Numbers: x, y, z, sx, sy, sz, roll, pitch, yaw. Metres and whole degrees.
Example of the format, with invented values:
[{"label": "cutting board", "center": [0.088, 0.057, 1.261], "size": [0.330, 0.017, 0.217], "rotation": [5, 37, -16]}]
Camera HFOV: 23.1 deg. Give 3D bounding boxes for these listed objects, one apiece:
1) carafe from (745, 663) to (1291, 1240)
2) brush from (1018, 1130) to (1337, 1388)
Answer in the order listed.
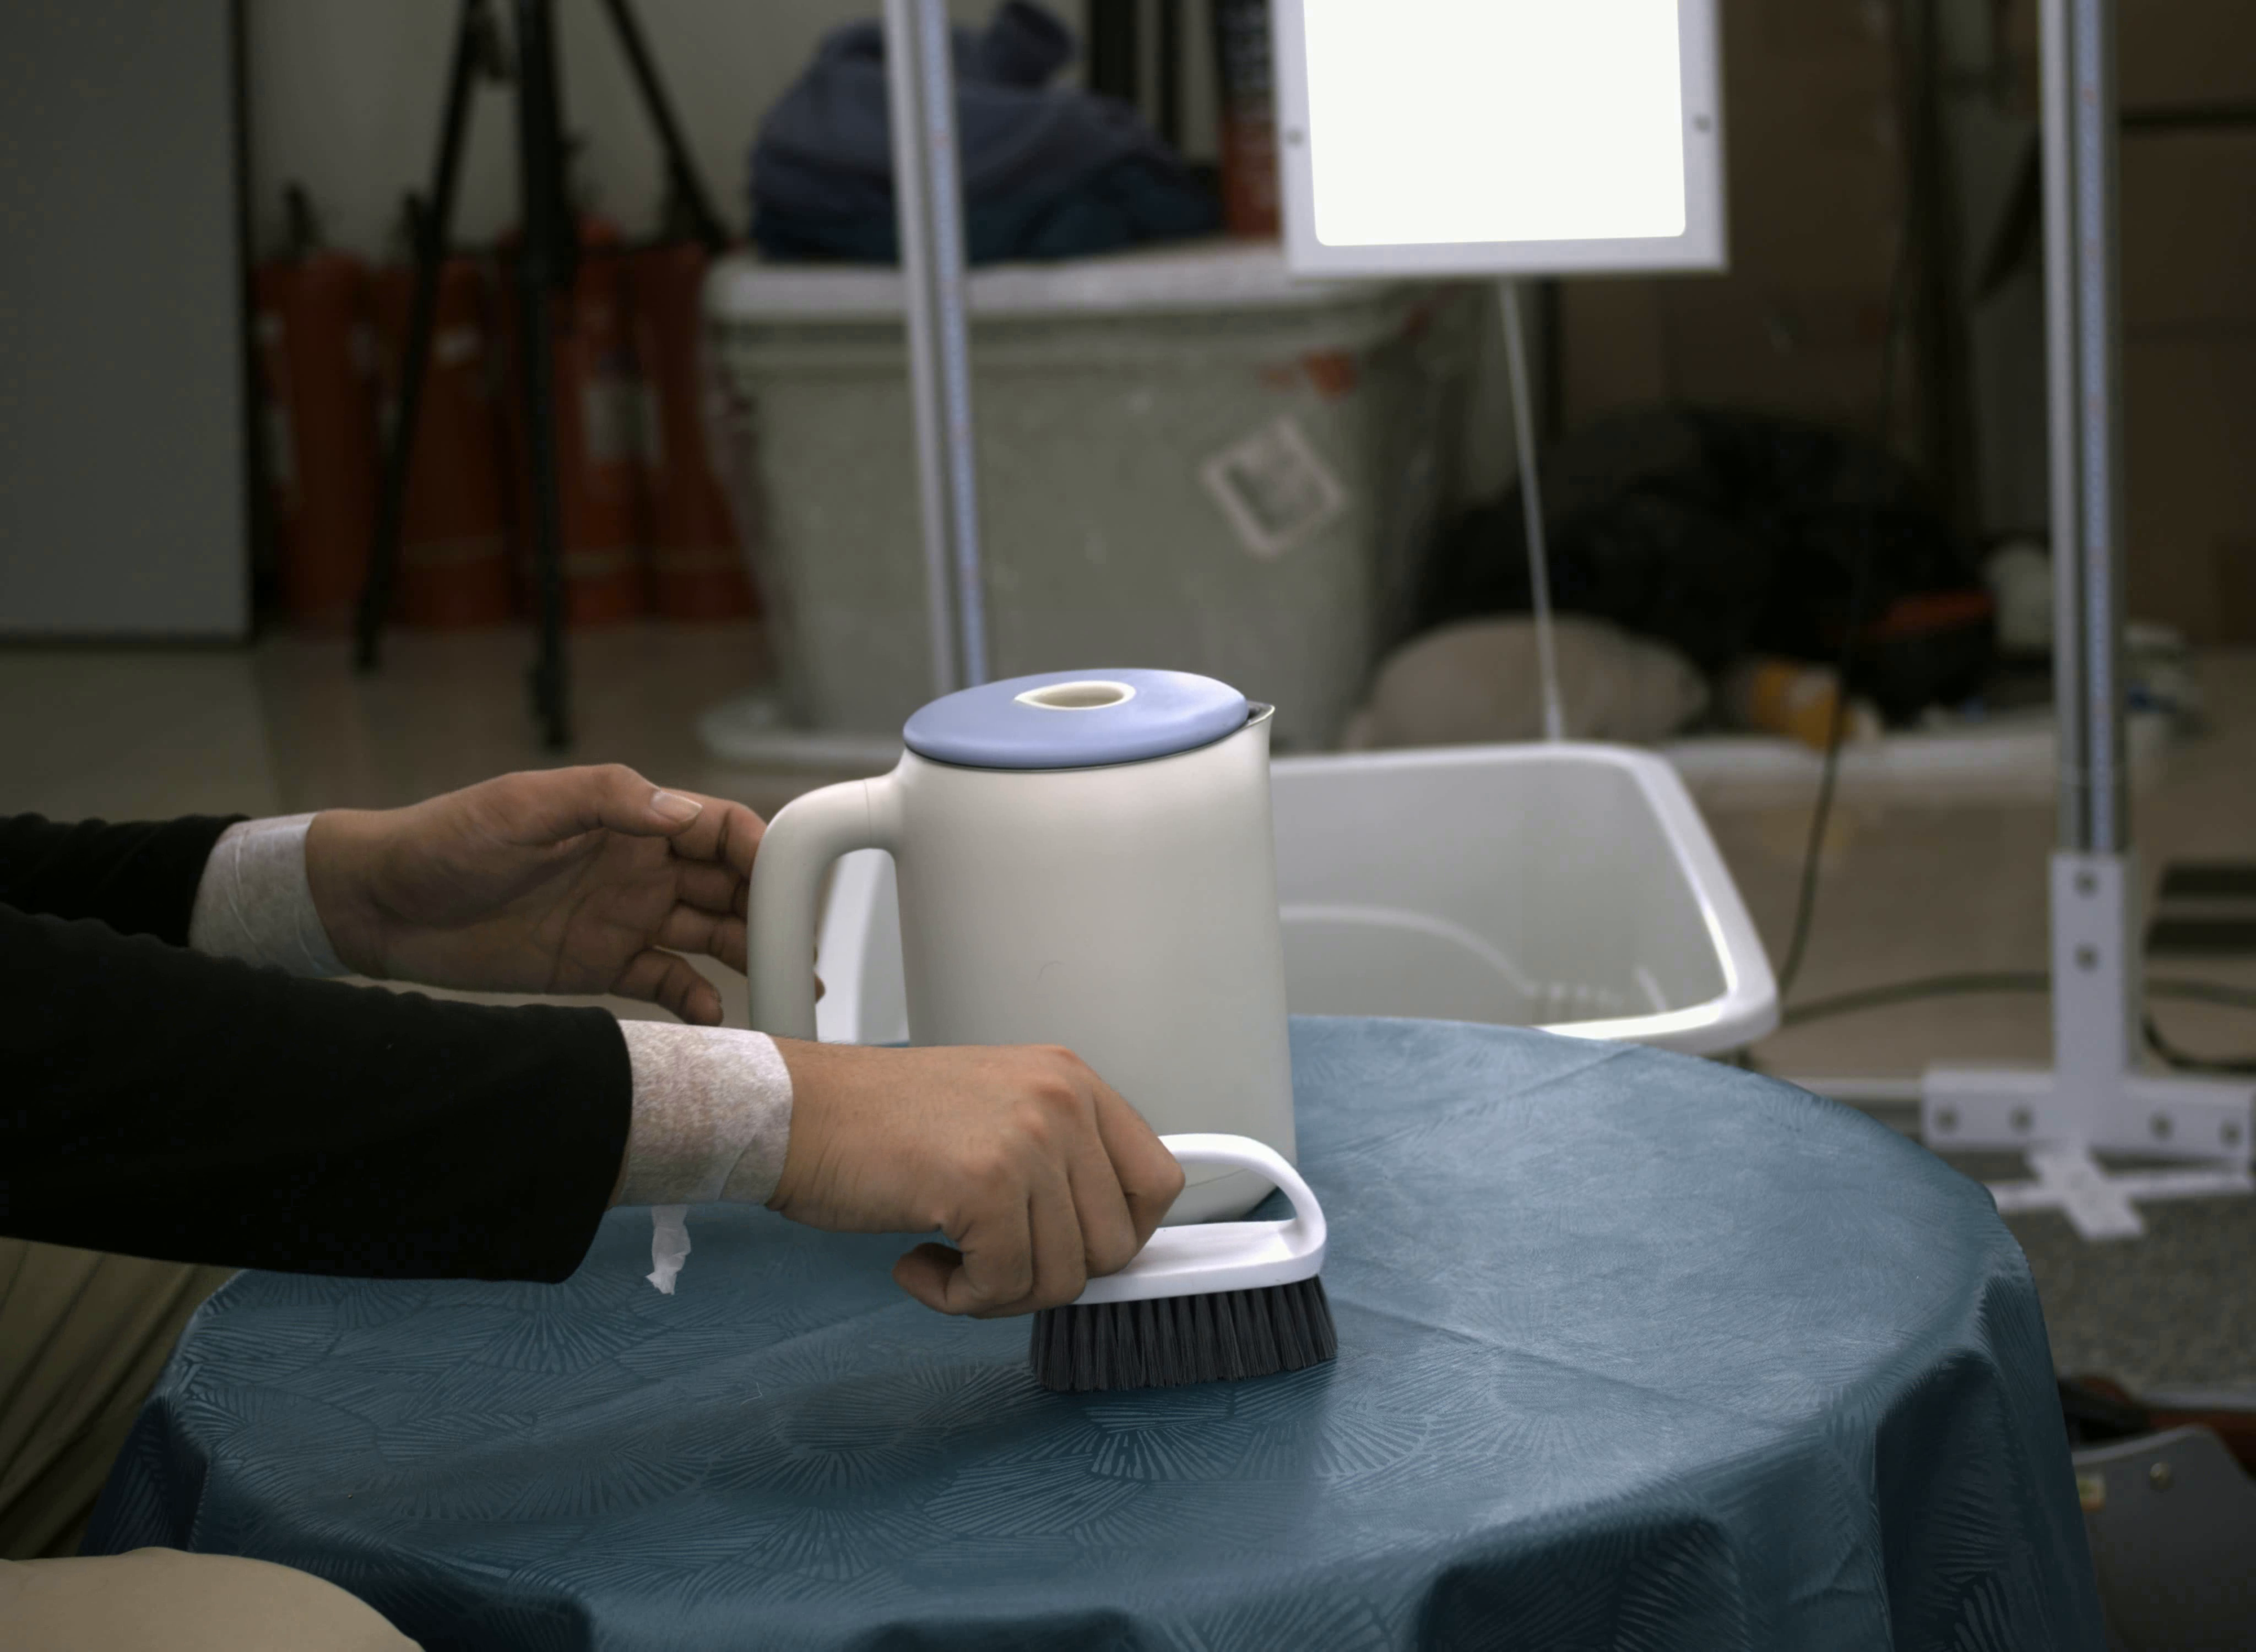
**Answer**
[{"label": "carafe", "center": [-0.037, 0.045, 1.882], "size": [0.189, 0.183, 0.133], "rotation": [-7, 14, -6]}, {"label": "brush", "center": [0.014, 0.131, 1.718], "size": [0.099, 0.073, 0.050], "rotation": [-5, 15, 1]}]
